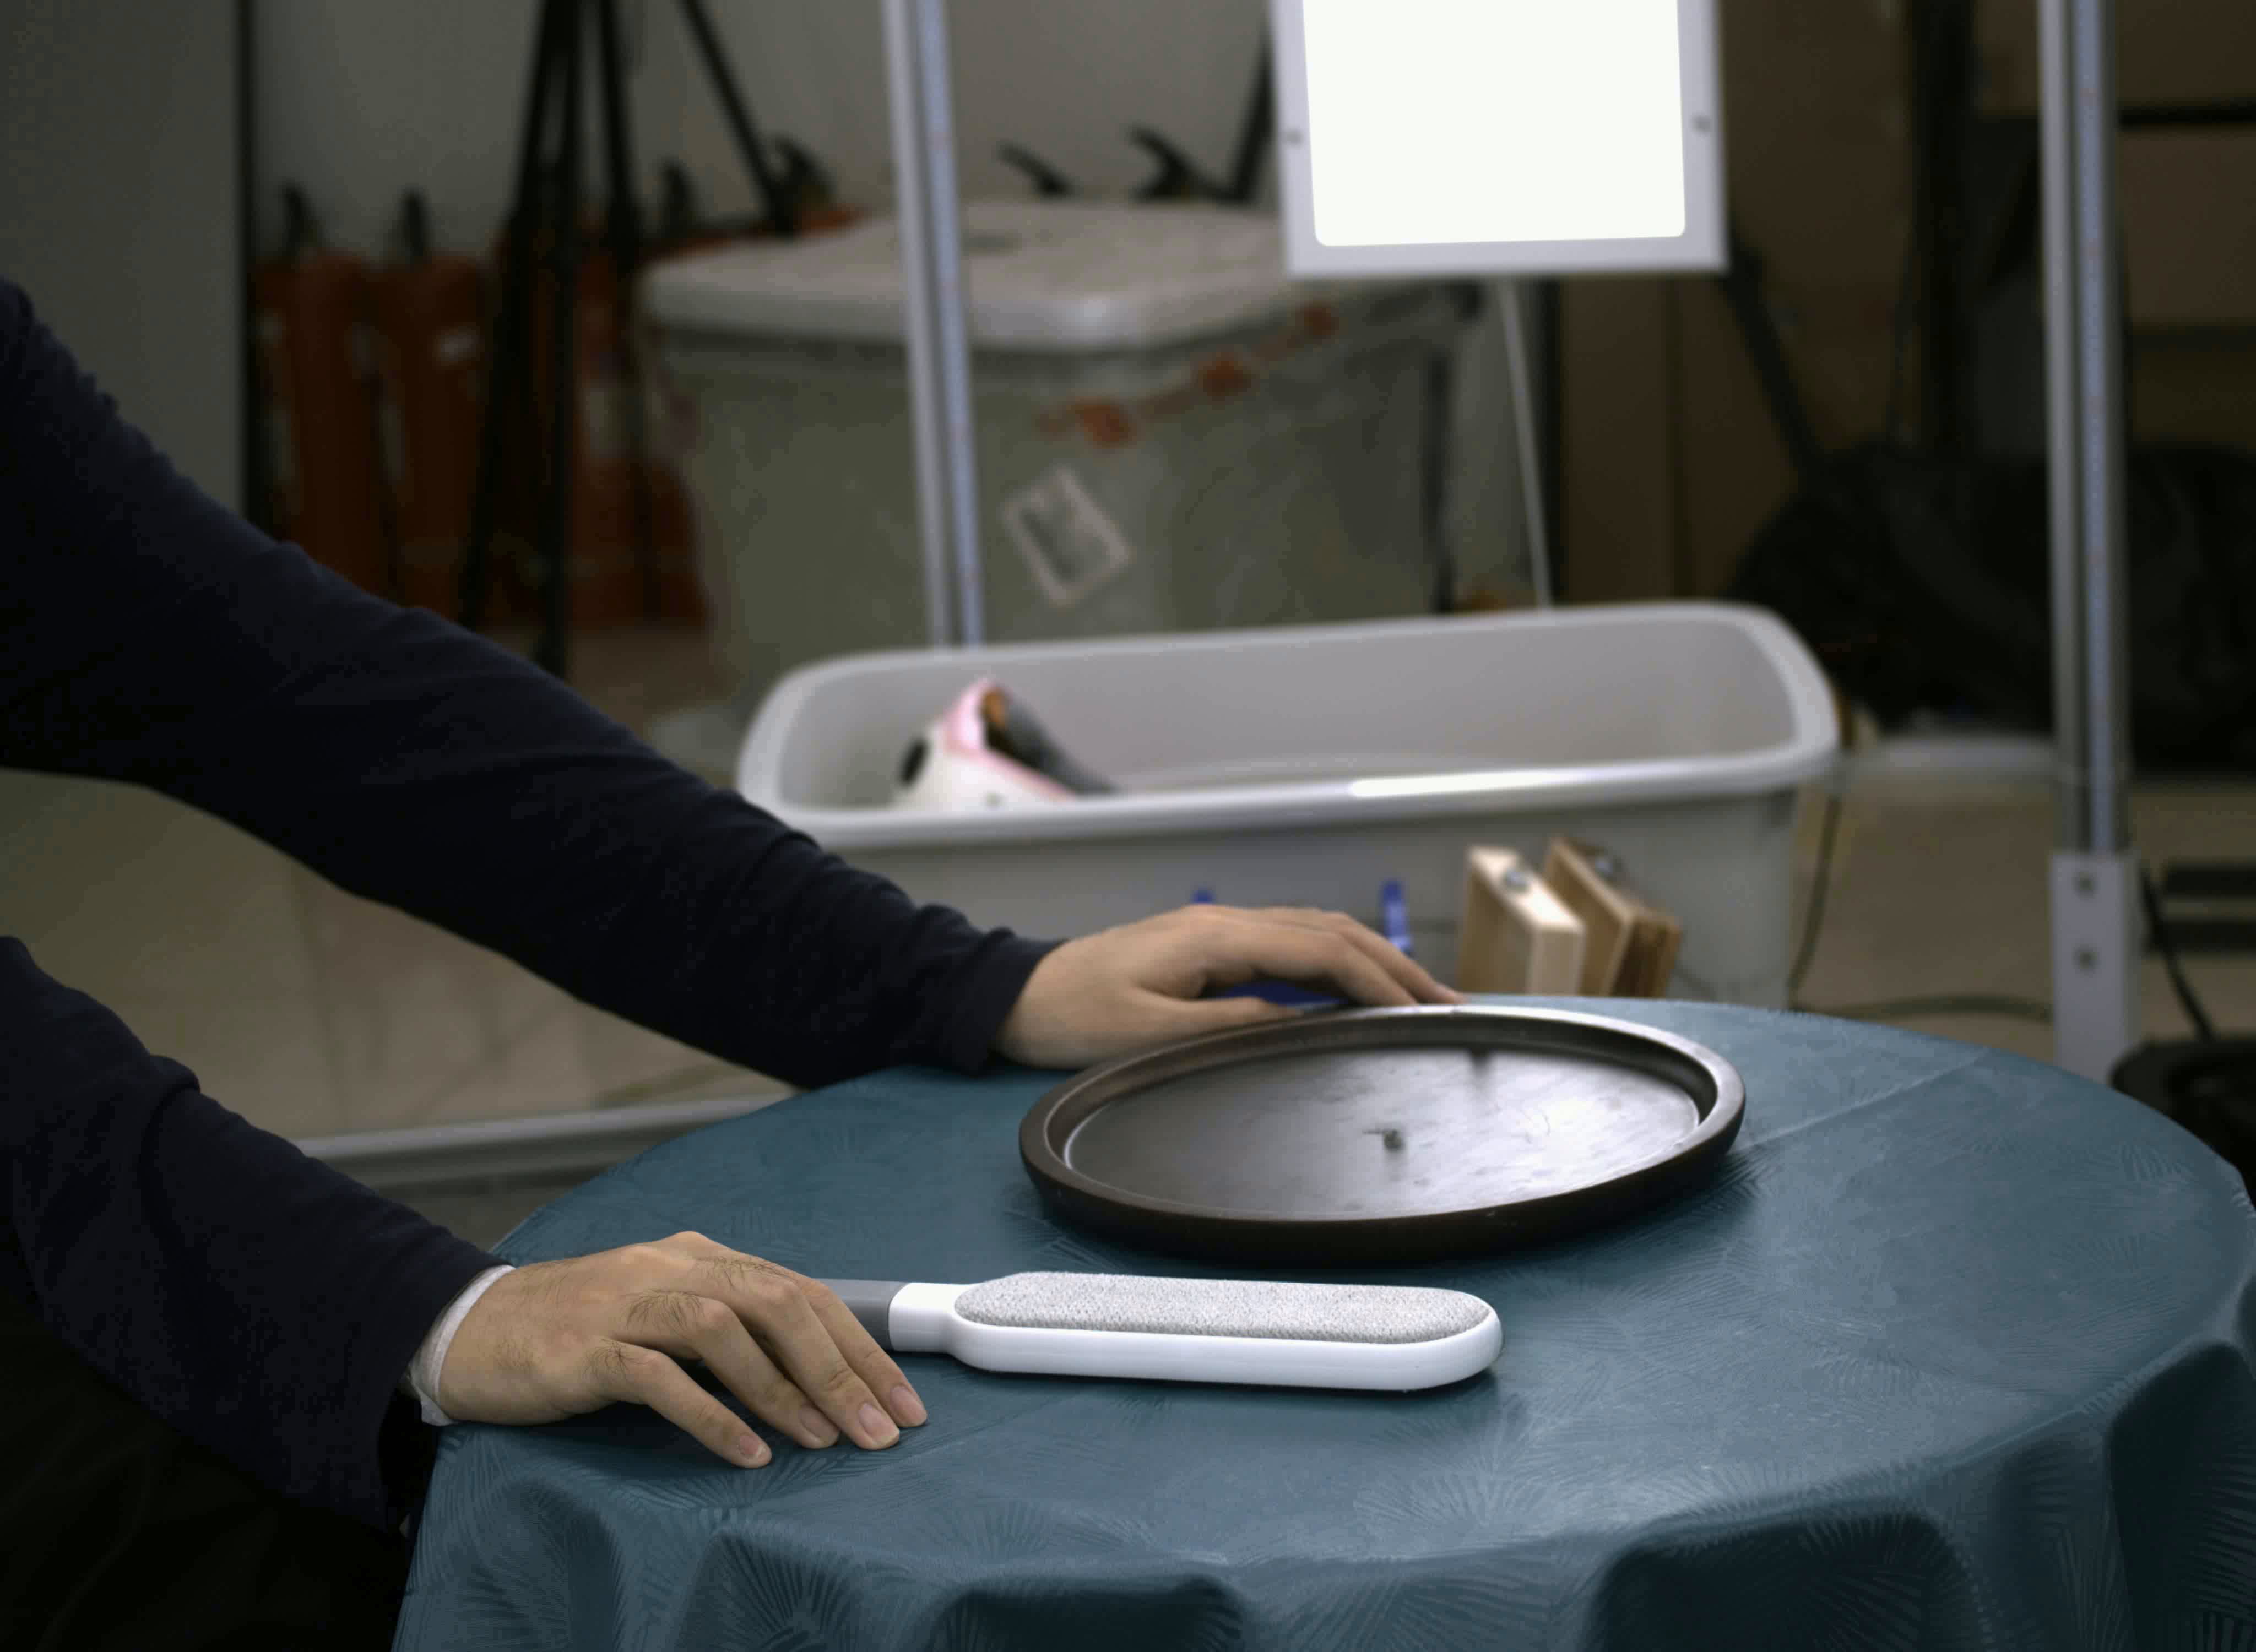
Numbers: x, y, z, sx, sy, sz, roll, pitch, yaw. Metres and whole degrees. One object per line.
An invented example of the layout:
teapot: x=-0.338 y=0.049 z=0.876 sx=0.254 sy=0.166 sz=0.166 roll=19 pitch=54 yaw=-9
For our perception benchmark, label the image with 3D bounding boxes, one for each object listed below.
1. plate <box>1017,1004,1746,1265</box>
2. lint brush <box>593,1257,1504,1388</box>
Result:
plate: x=0.088 y=0.105 z=1.905 sx=0.254 sy=0.029 sz=0.254 roll=-4 pitch=12 yaw=0
lint brush: x=-0.030 y=0.154 z=1.746 sx=0.313 sy=0.021 sz=0.059 roll=1 pitch=20 yaw=24
